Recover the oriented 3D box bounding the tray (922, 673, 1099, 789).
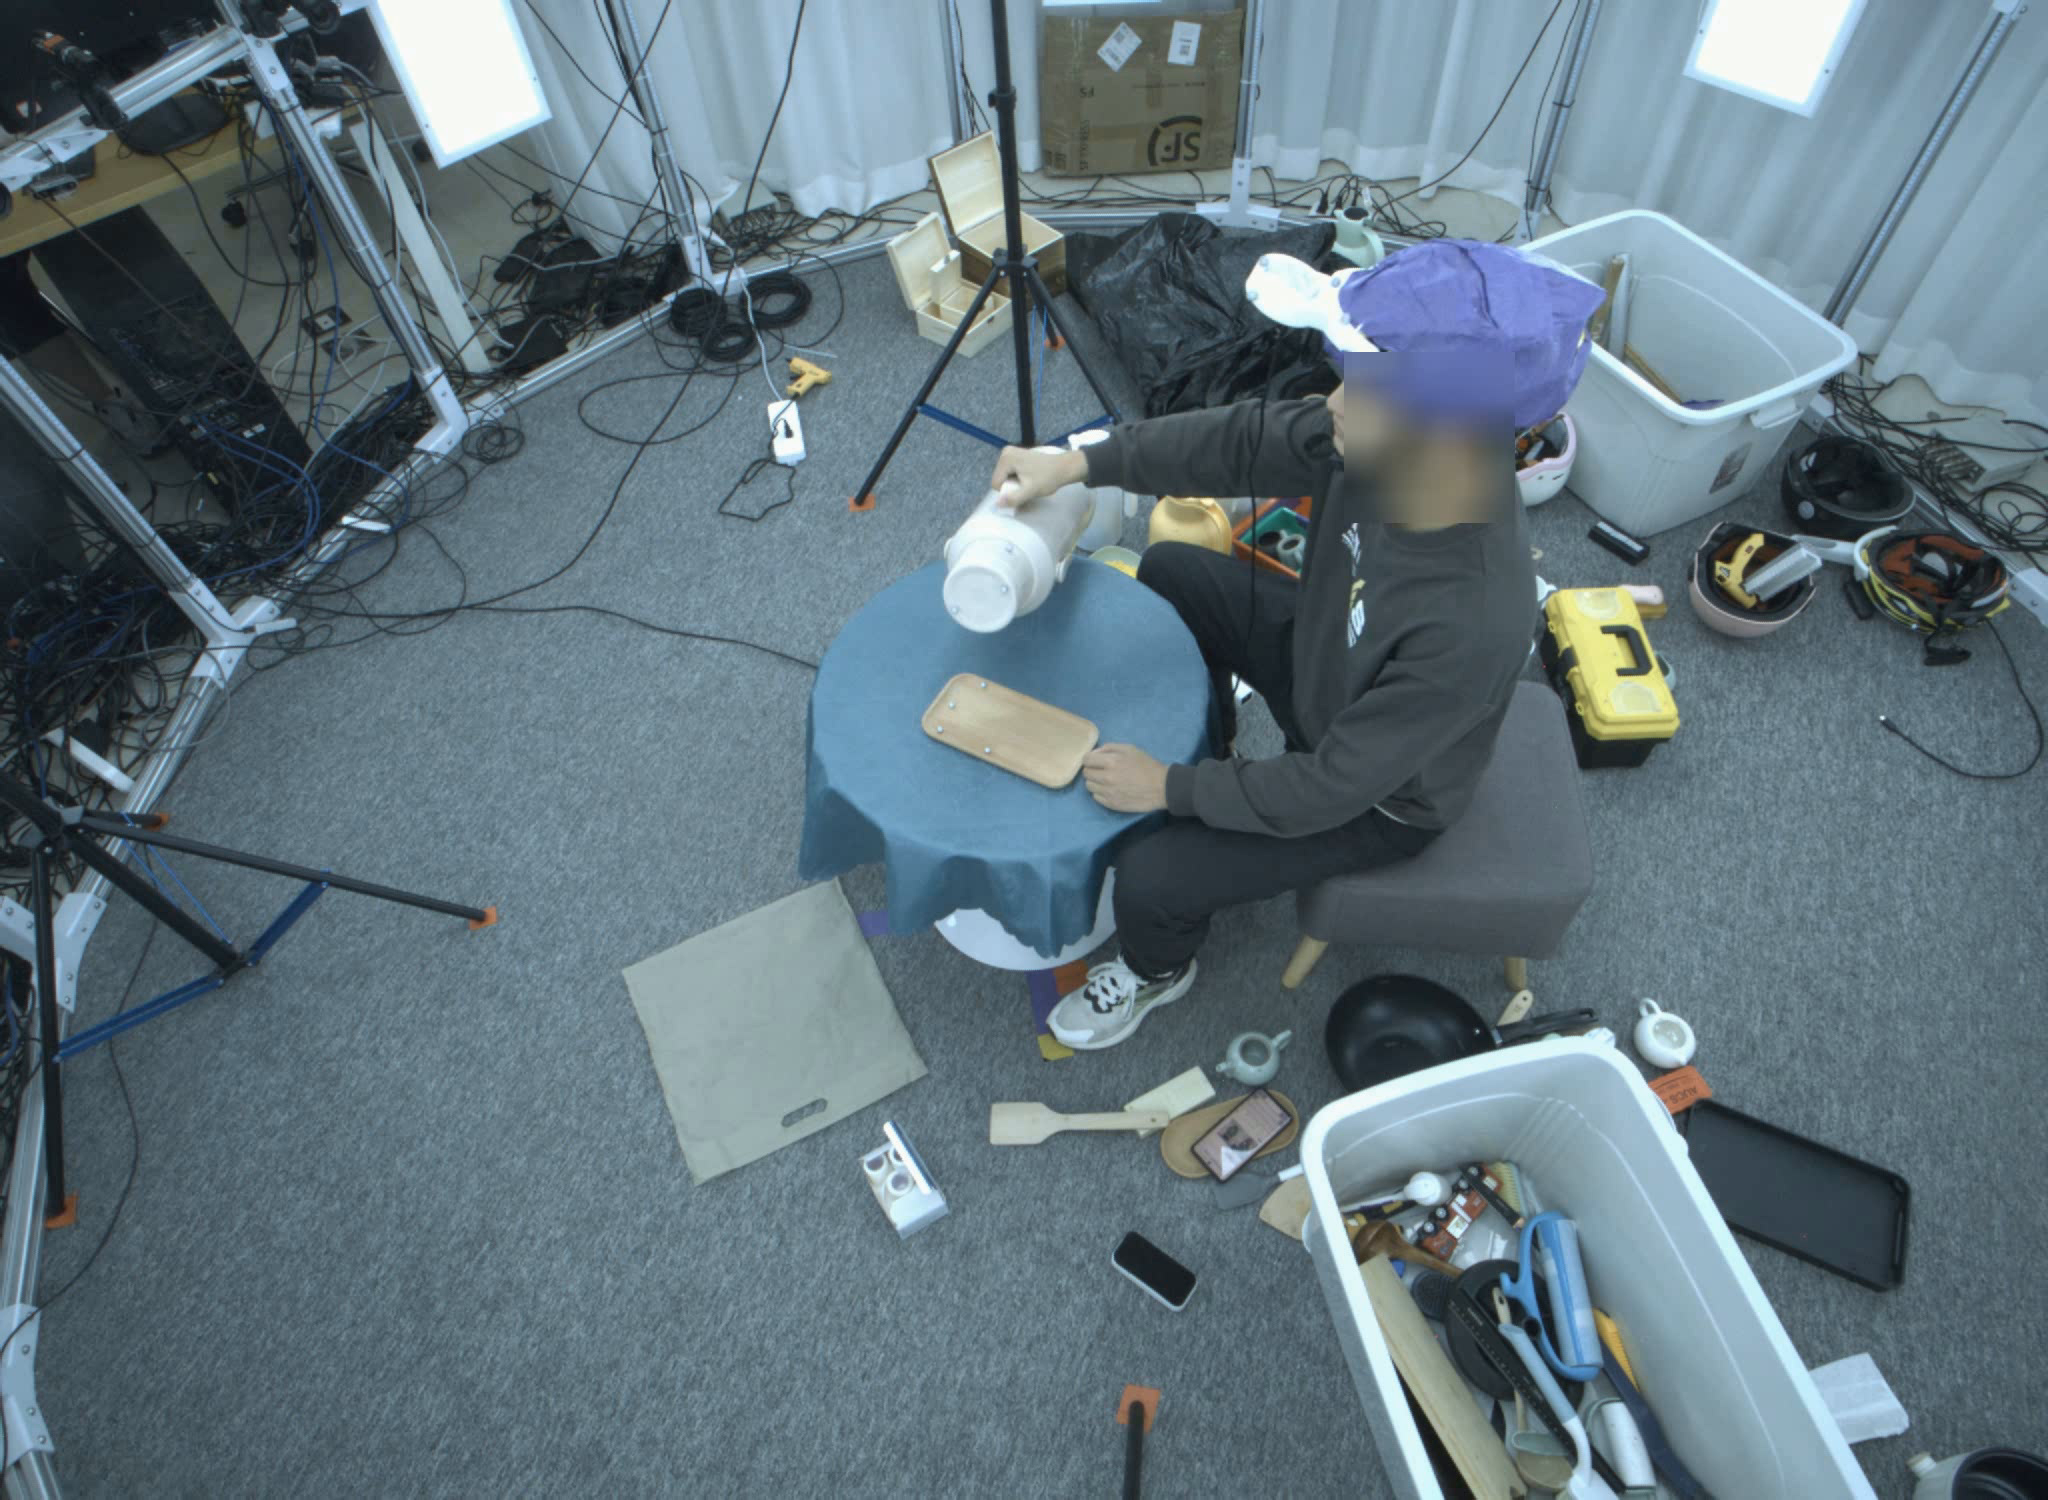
[{"bbox_3d":[-0.020,-0.029,1.797,0.247,0.023,0.131,24,61,17],"label":"tray"}]

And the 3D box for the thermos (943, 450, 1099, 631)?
[{"bbox_3d":[-0.005,-0.319,1.792,0.174,0.208,0.406,13,34,10],"label":"thermos"}]
